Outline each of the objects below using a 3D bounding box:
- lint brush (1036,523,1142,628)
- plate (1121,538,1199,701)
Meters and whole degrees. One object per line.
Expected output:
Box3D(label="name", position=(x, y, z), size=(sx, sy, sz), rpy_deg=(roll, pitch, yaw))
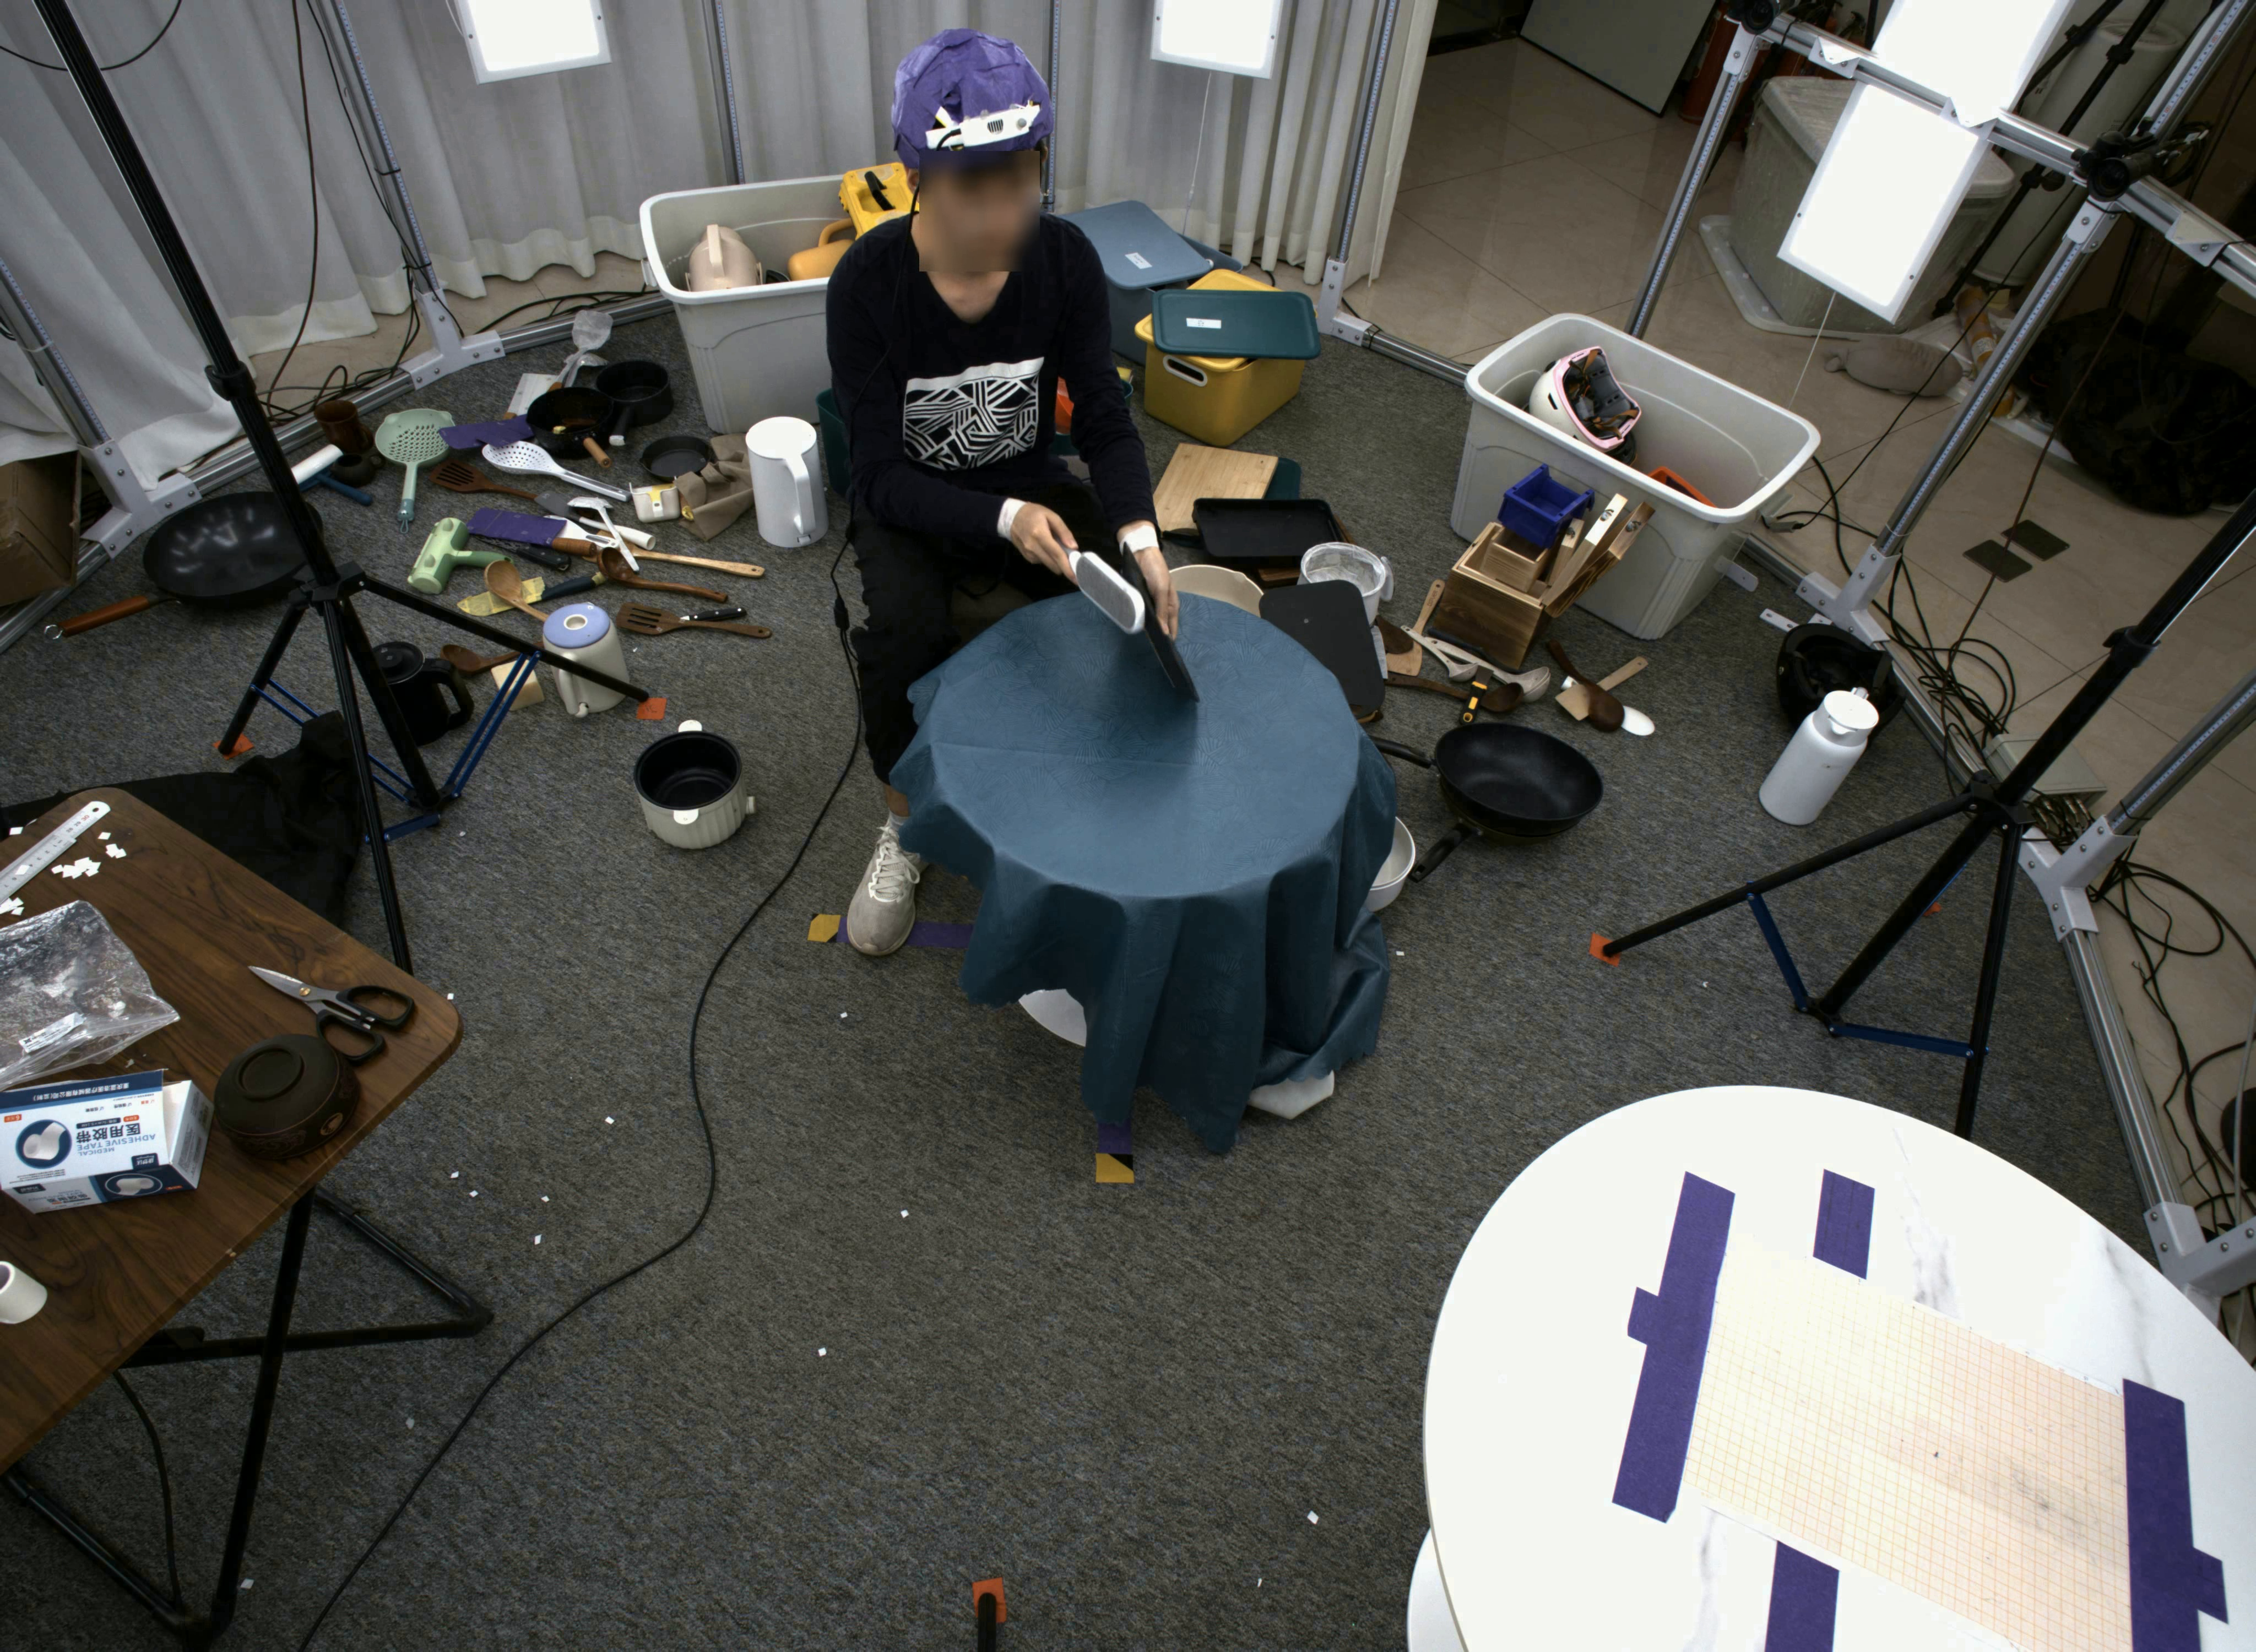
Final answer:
Box3D(label="lint brush", position=(-0.057, -0.355, 1.775), size=(0.021, 0.059, 0.315), rpy_deg=(-15, 38, -23))
Box3D(label="plate", position=(0.039, -0.280, 1.770), size=(0.023, 0.239, 0.250), rpy_deg=(-24, 52, 6))
